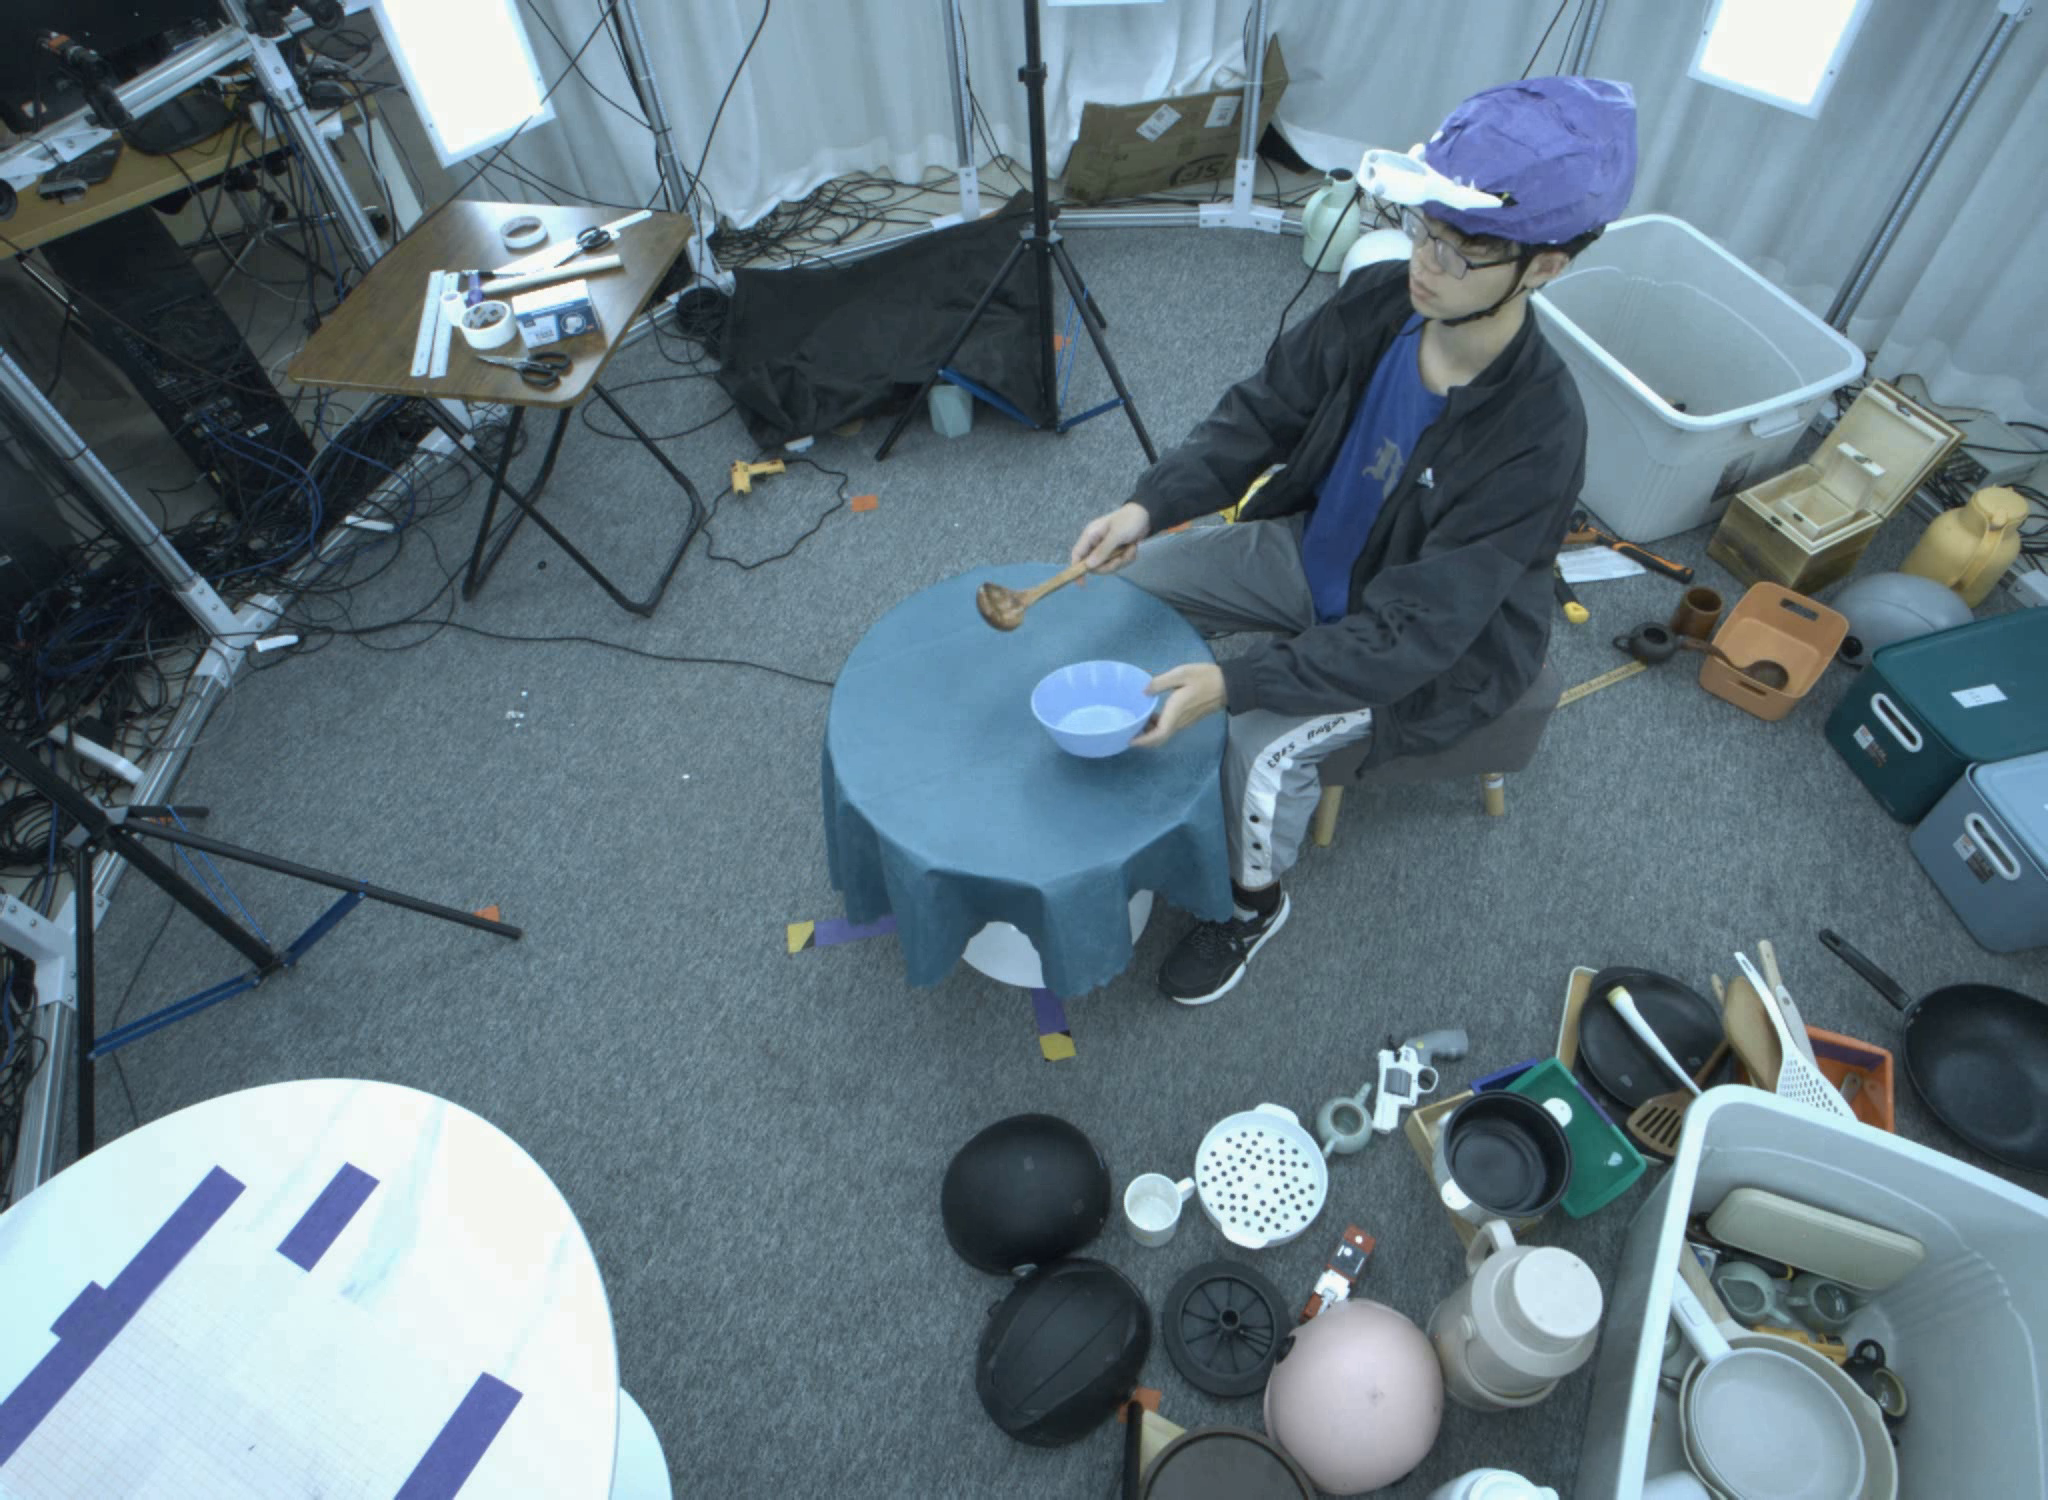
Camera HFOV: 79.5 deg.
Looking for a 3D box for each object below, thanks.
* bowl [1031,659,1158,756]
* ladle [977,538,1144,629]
[{"bbox_3d":[0.100,-0.052,1.710,0.176,0.071,0.174,-3,38,4],"label":"bowl"},{"bbox_3d":[0.056,-0.255,1.760,0.276,0.076,0.082,-27,87,-13],"label":"ladle"}]
